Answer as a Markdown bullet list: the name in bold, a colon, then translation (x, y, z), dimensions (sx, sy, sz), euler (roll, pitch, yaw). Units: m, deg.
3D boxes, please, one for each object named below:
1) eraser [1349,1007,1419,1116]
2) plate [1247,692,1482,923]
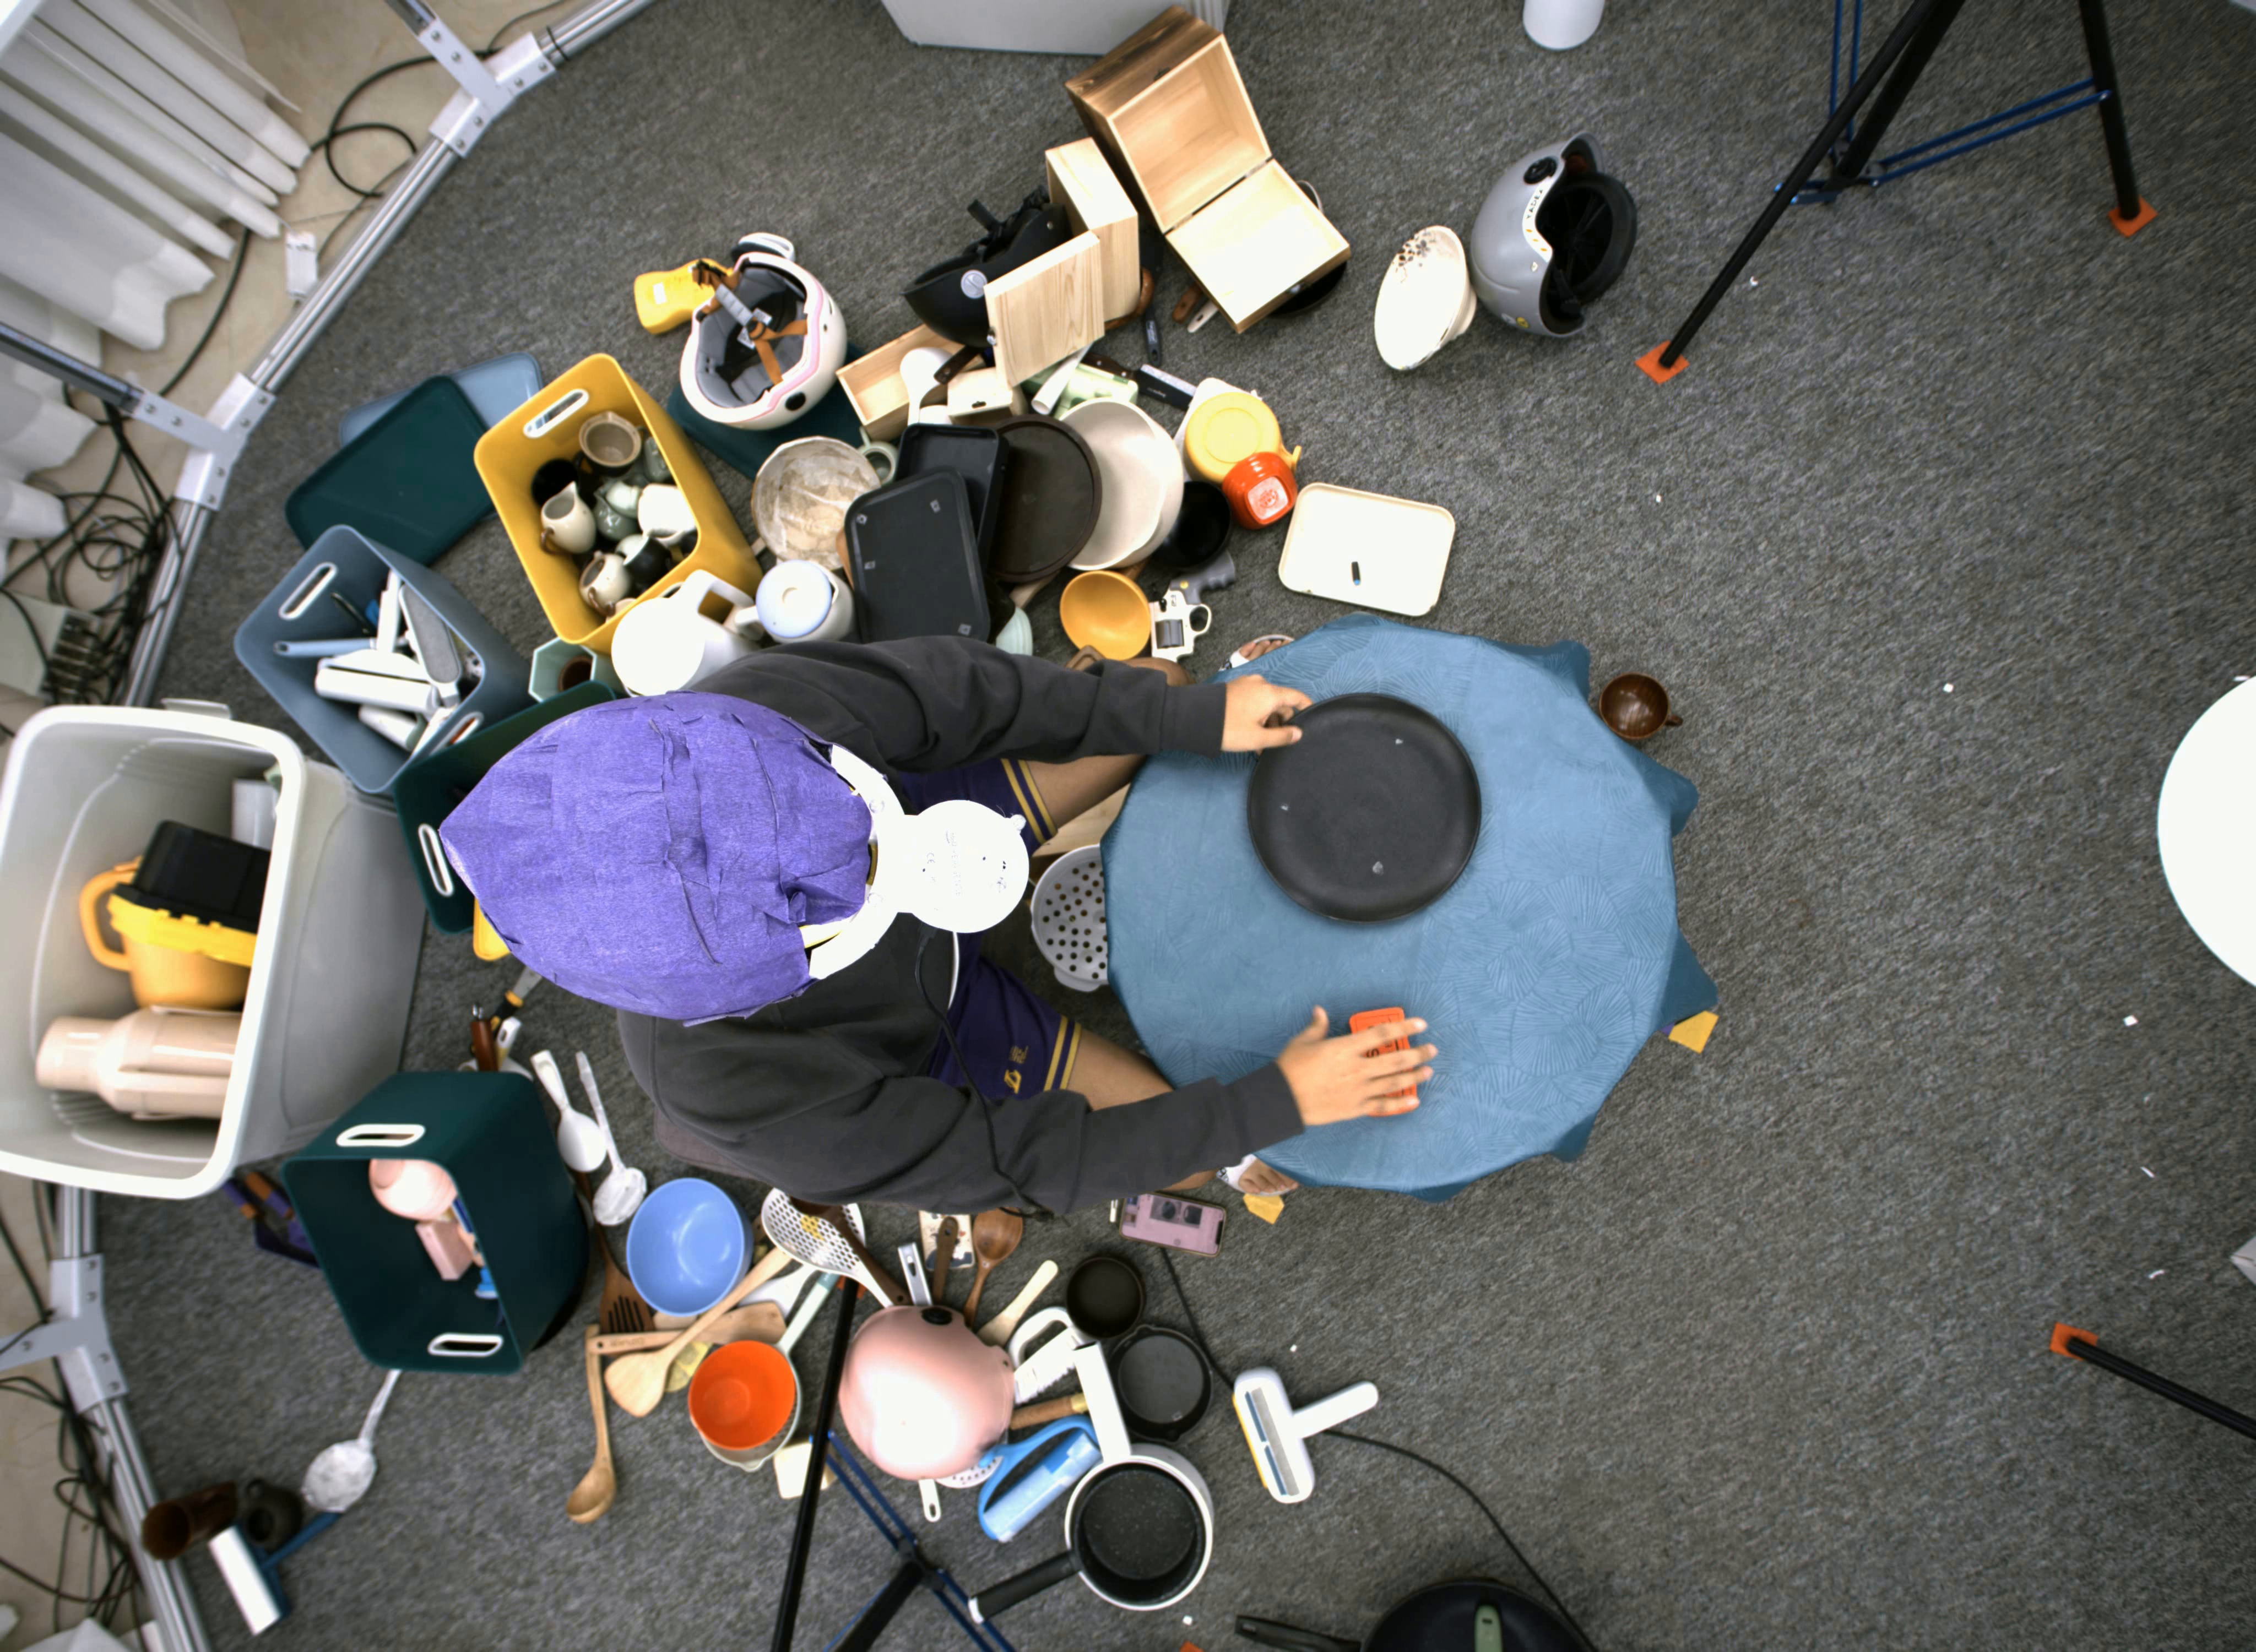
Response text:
- **eraser**: translation (0.266, 0.242, 1.436), dimensions (0.059, 0.023, 0.107), euler (-10, 84, 9)
- **plate**: translation (0.247, -0.021, 1.450), dimensions (0.245, 0.023, 0.244), euler (0, 90, 8)
